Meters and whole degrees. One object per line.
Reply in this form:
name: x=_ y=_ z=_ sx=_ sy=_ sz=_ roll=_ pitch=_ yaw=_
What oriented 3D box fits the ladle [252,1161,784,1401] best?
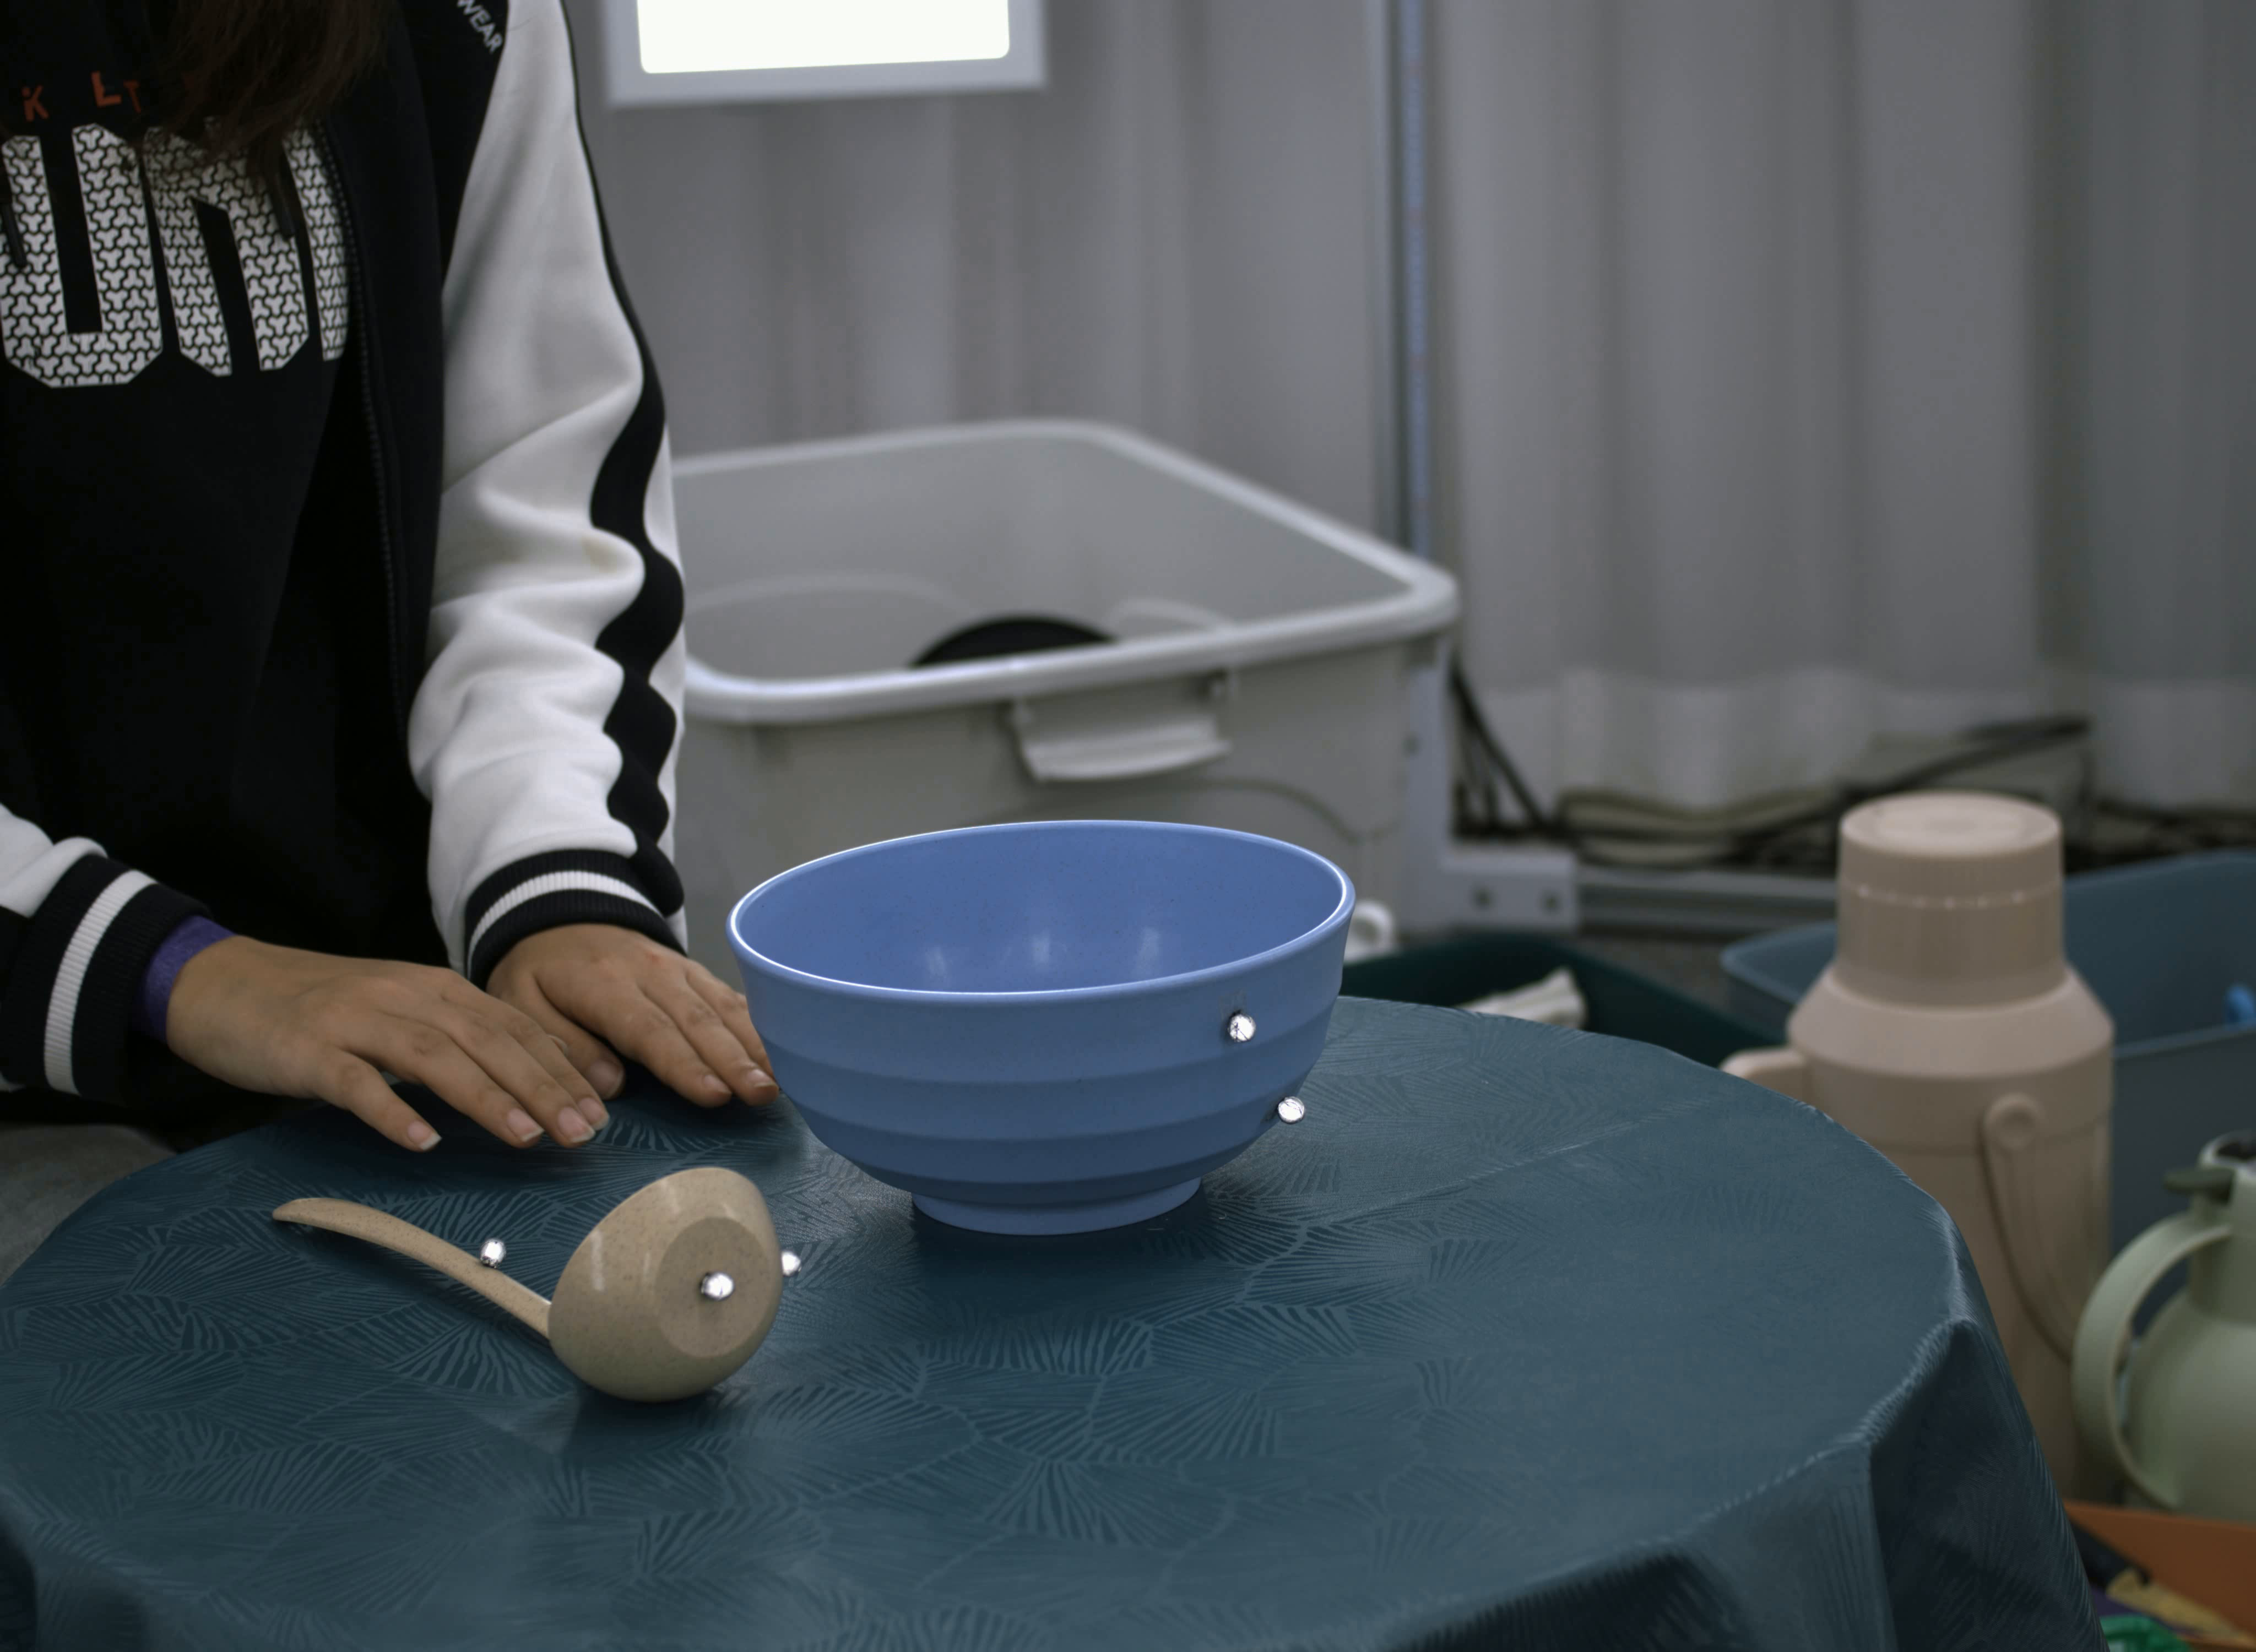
ladle: x=-0.193 y=0.111 z=1.624 sx=0.072 sy=0.072 sz=0.256 roll=-12 pitch=17 yaw=-37

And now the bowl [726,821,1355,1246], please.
bowl: x=-0.024 y=0.071 z=1.710 sx=0.196 sy=0.095 sz=0.198 roll=-4 pitch=16 yaw=1
